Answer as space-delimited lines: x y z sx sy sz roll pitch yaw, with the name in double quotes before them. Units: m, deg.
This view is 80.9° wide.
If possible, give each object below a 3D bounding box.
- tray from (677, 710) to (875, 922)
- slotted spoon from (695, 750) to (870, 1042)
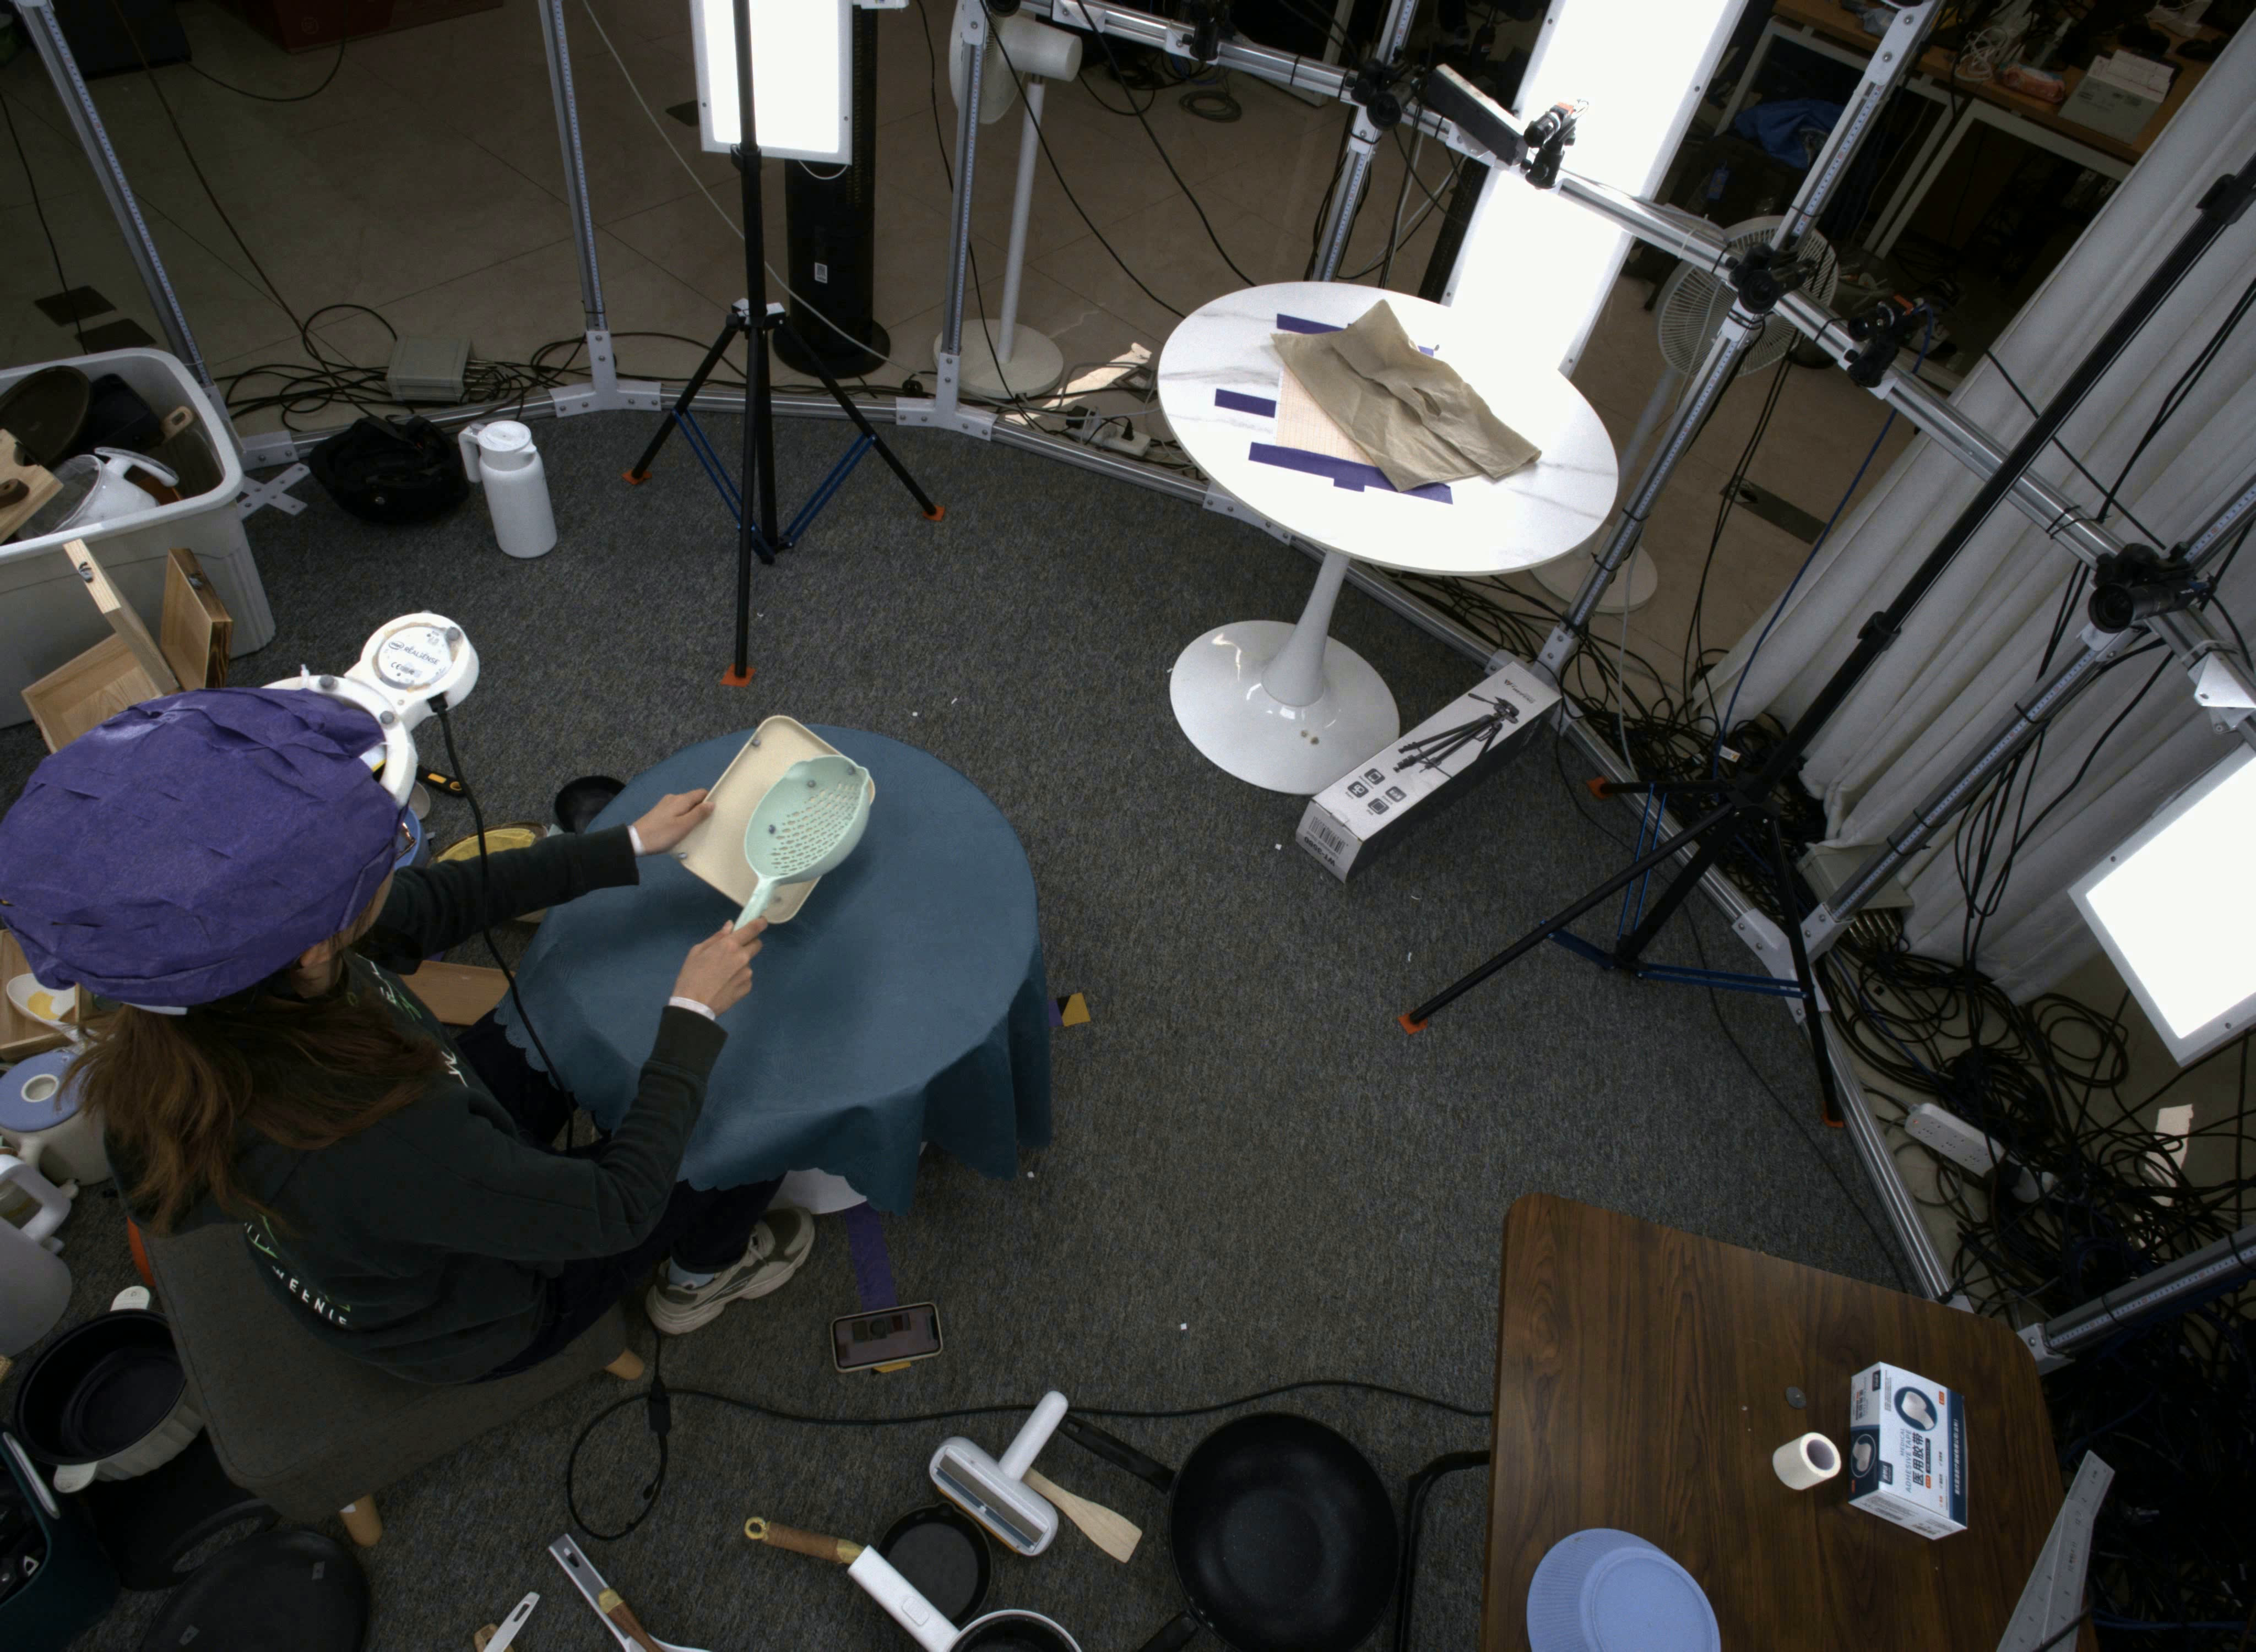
"tray" -0.436 -0.014 1.613 0.174 0.017 0.239 37 63 -17
"slotted spoon" -0.408 0.072 1.475 0.163 0.078 0.357 8 56 35
